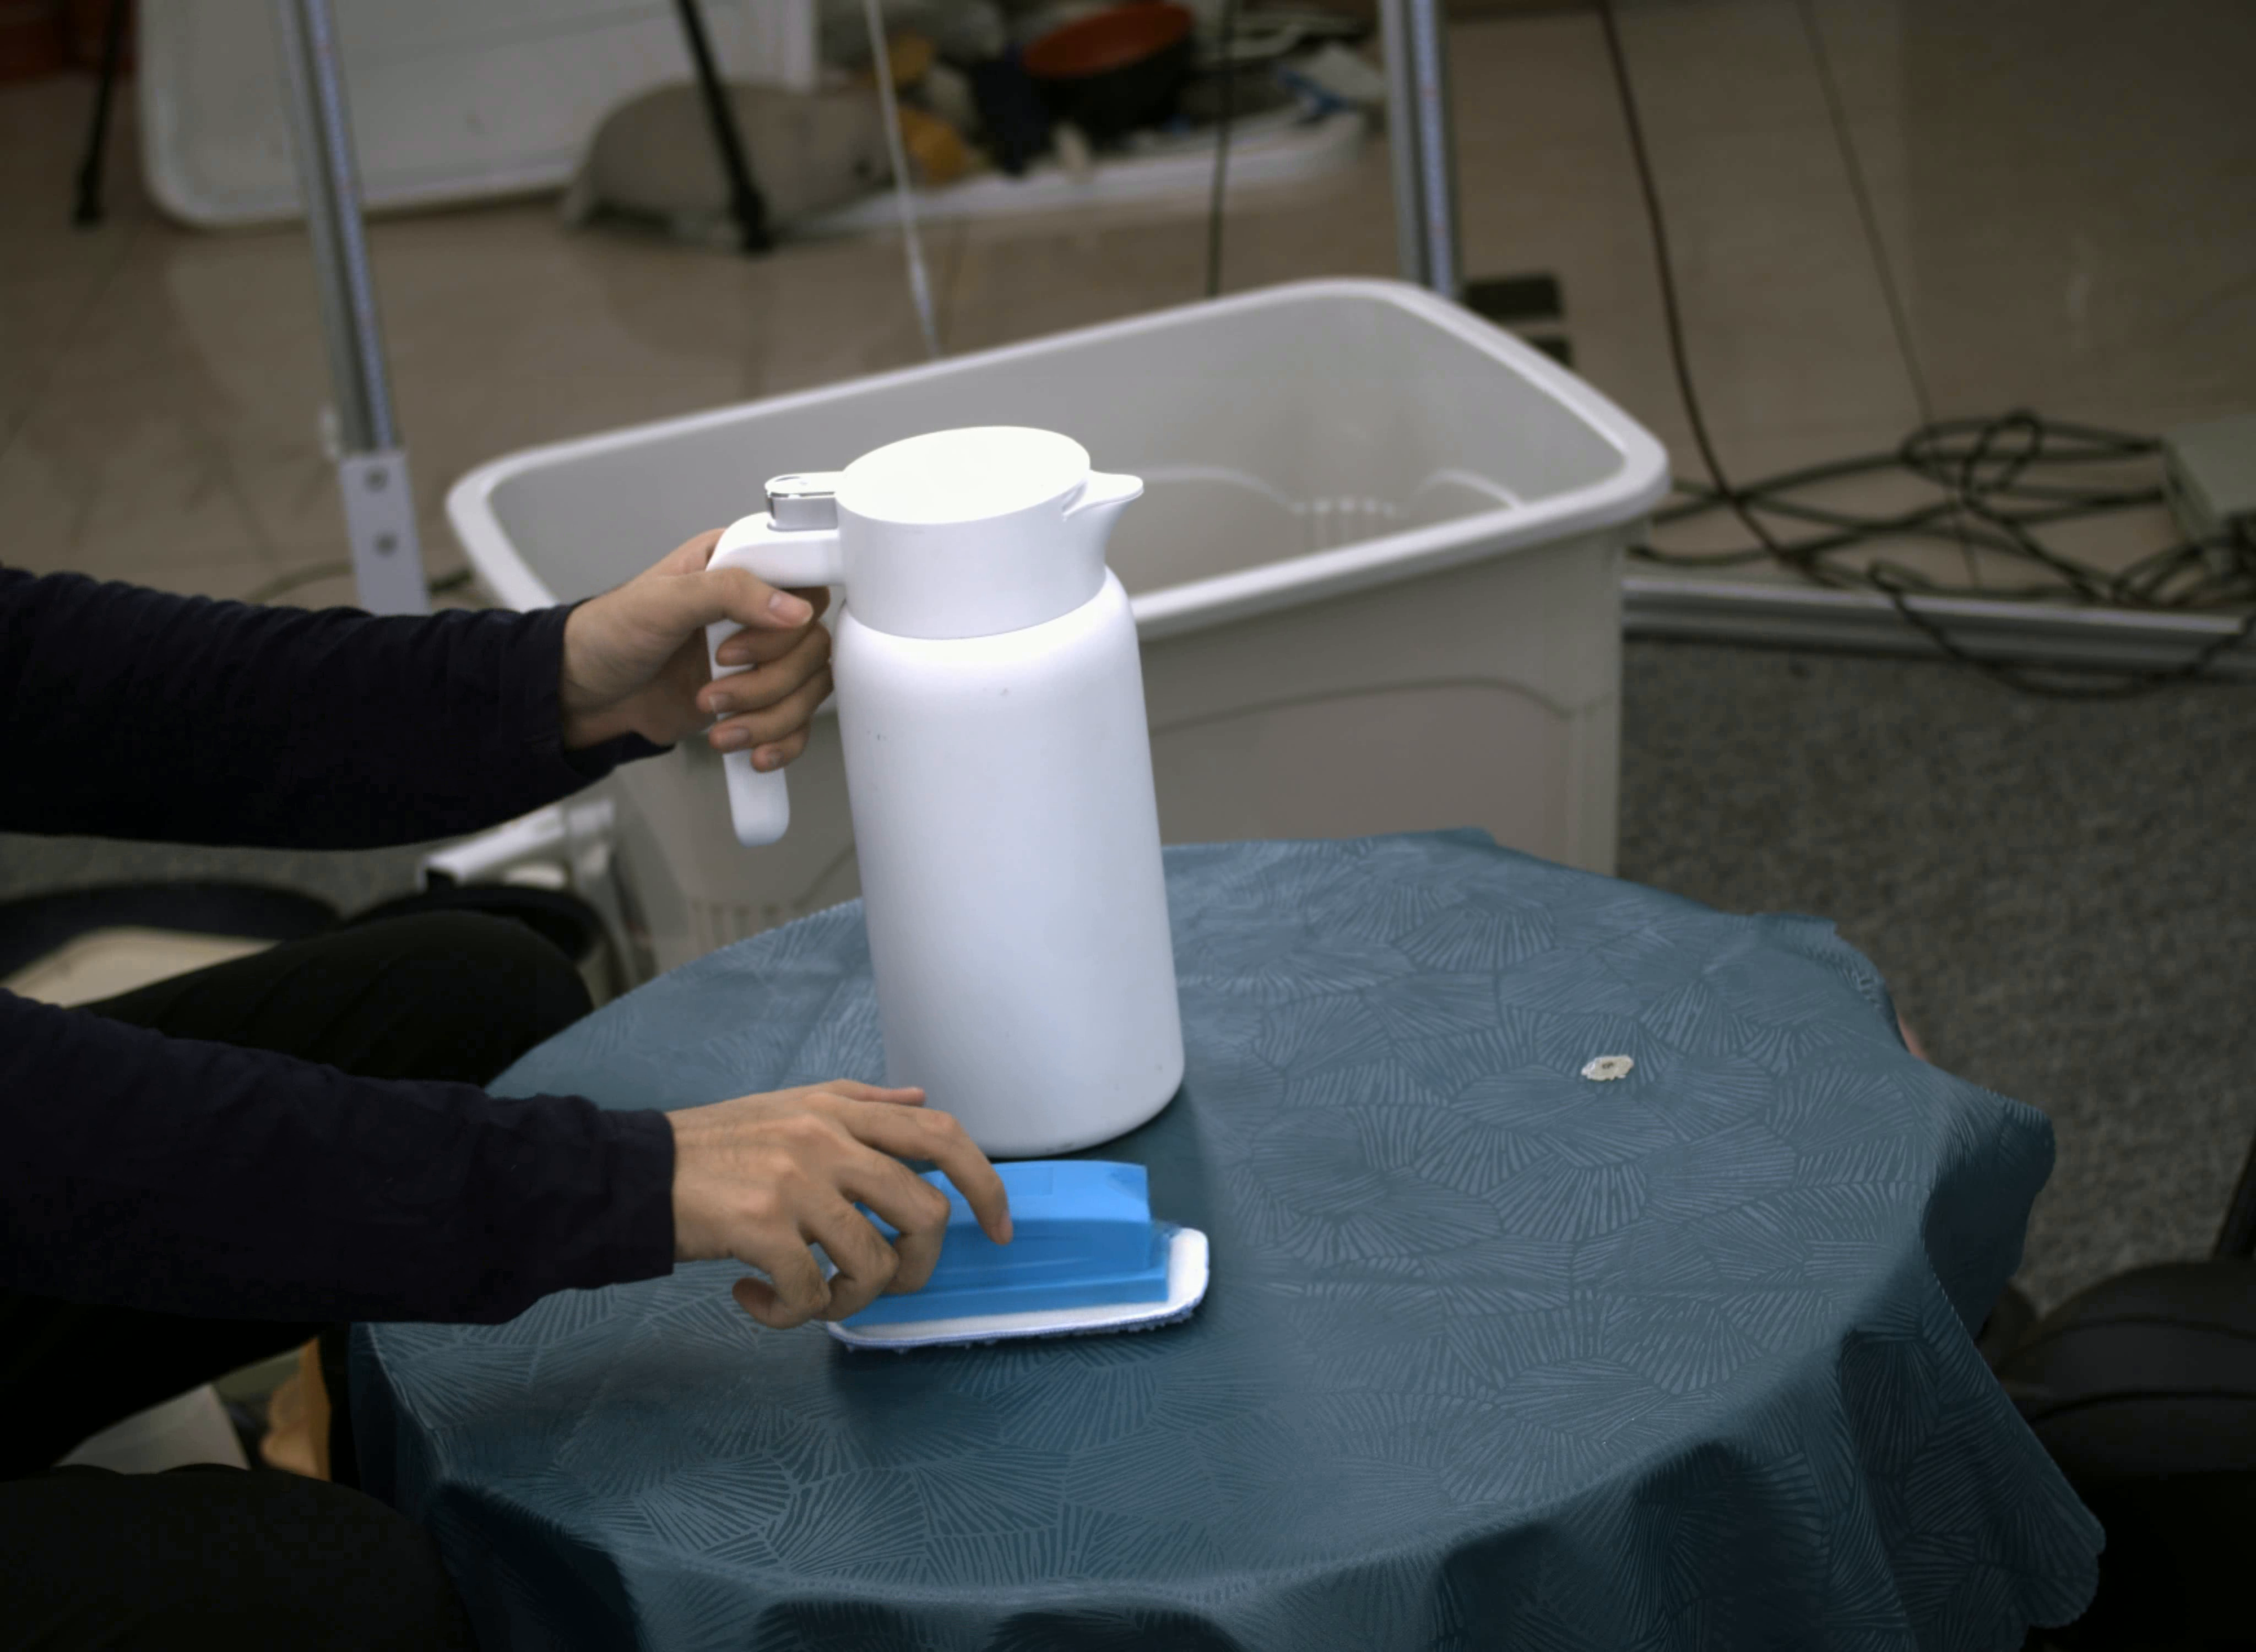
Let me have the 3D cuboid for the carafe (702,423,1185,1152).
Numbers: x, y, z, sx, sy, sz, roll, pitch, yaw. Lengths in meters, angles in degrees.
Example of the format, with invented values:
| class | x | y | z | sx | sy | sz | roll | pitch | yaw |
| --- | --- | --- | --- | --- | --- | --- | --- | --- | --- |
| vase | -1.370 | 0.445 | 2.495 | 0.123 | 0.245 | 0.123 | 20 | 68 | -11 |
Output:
| class | x | y | z | sx | sy | sz | roll | pitch | yaw |
| --- | --- | --- | --- | --- | --- | --- | --- | --- | --- |
| carafe | -0.066 | -0.012 | 2.167 | 0.172 | 0.273 | 0.122 | -4 | 27 | 7 |

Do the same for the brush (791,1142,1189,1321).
| class | x | y | z | sx | sy | sz | roll | pitch | yaw |
| --- | --- | --- | --- | --- | --- | --- | --- | --- | --- |
| brush | -0.050 | 0.146 | 2.067 | 0.144 | 0.057 | 0.083 | 0 | 22 | 3 |
